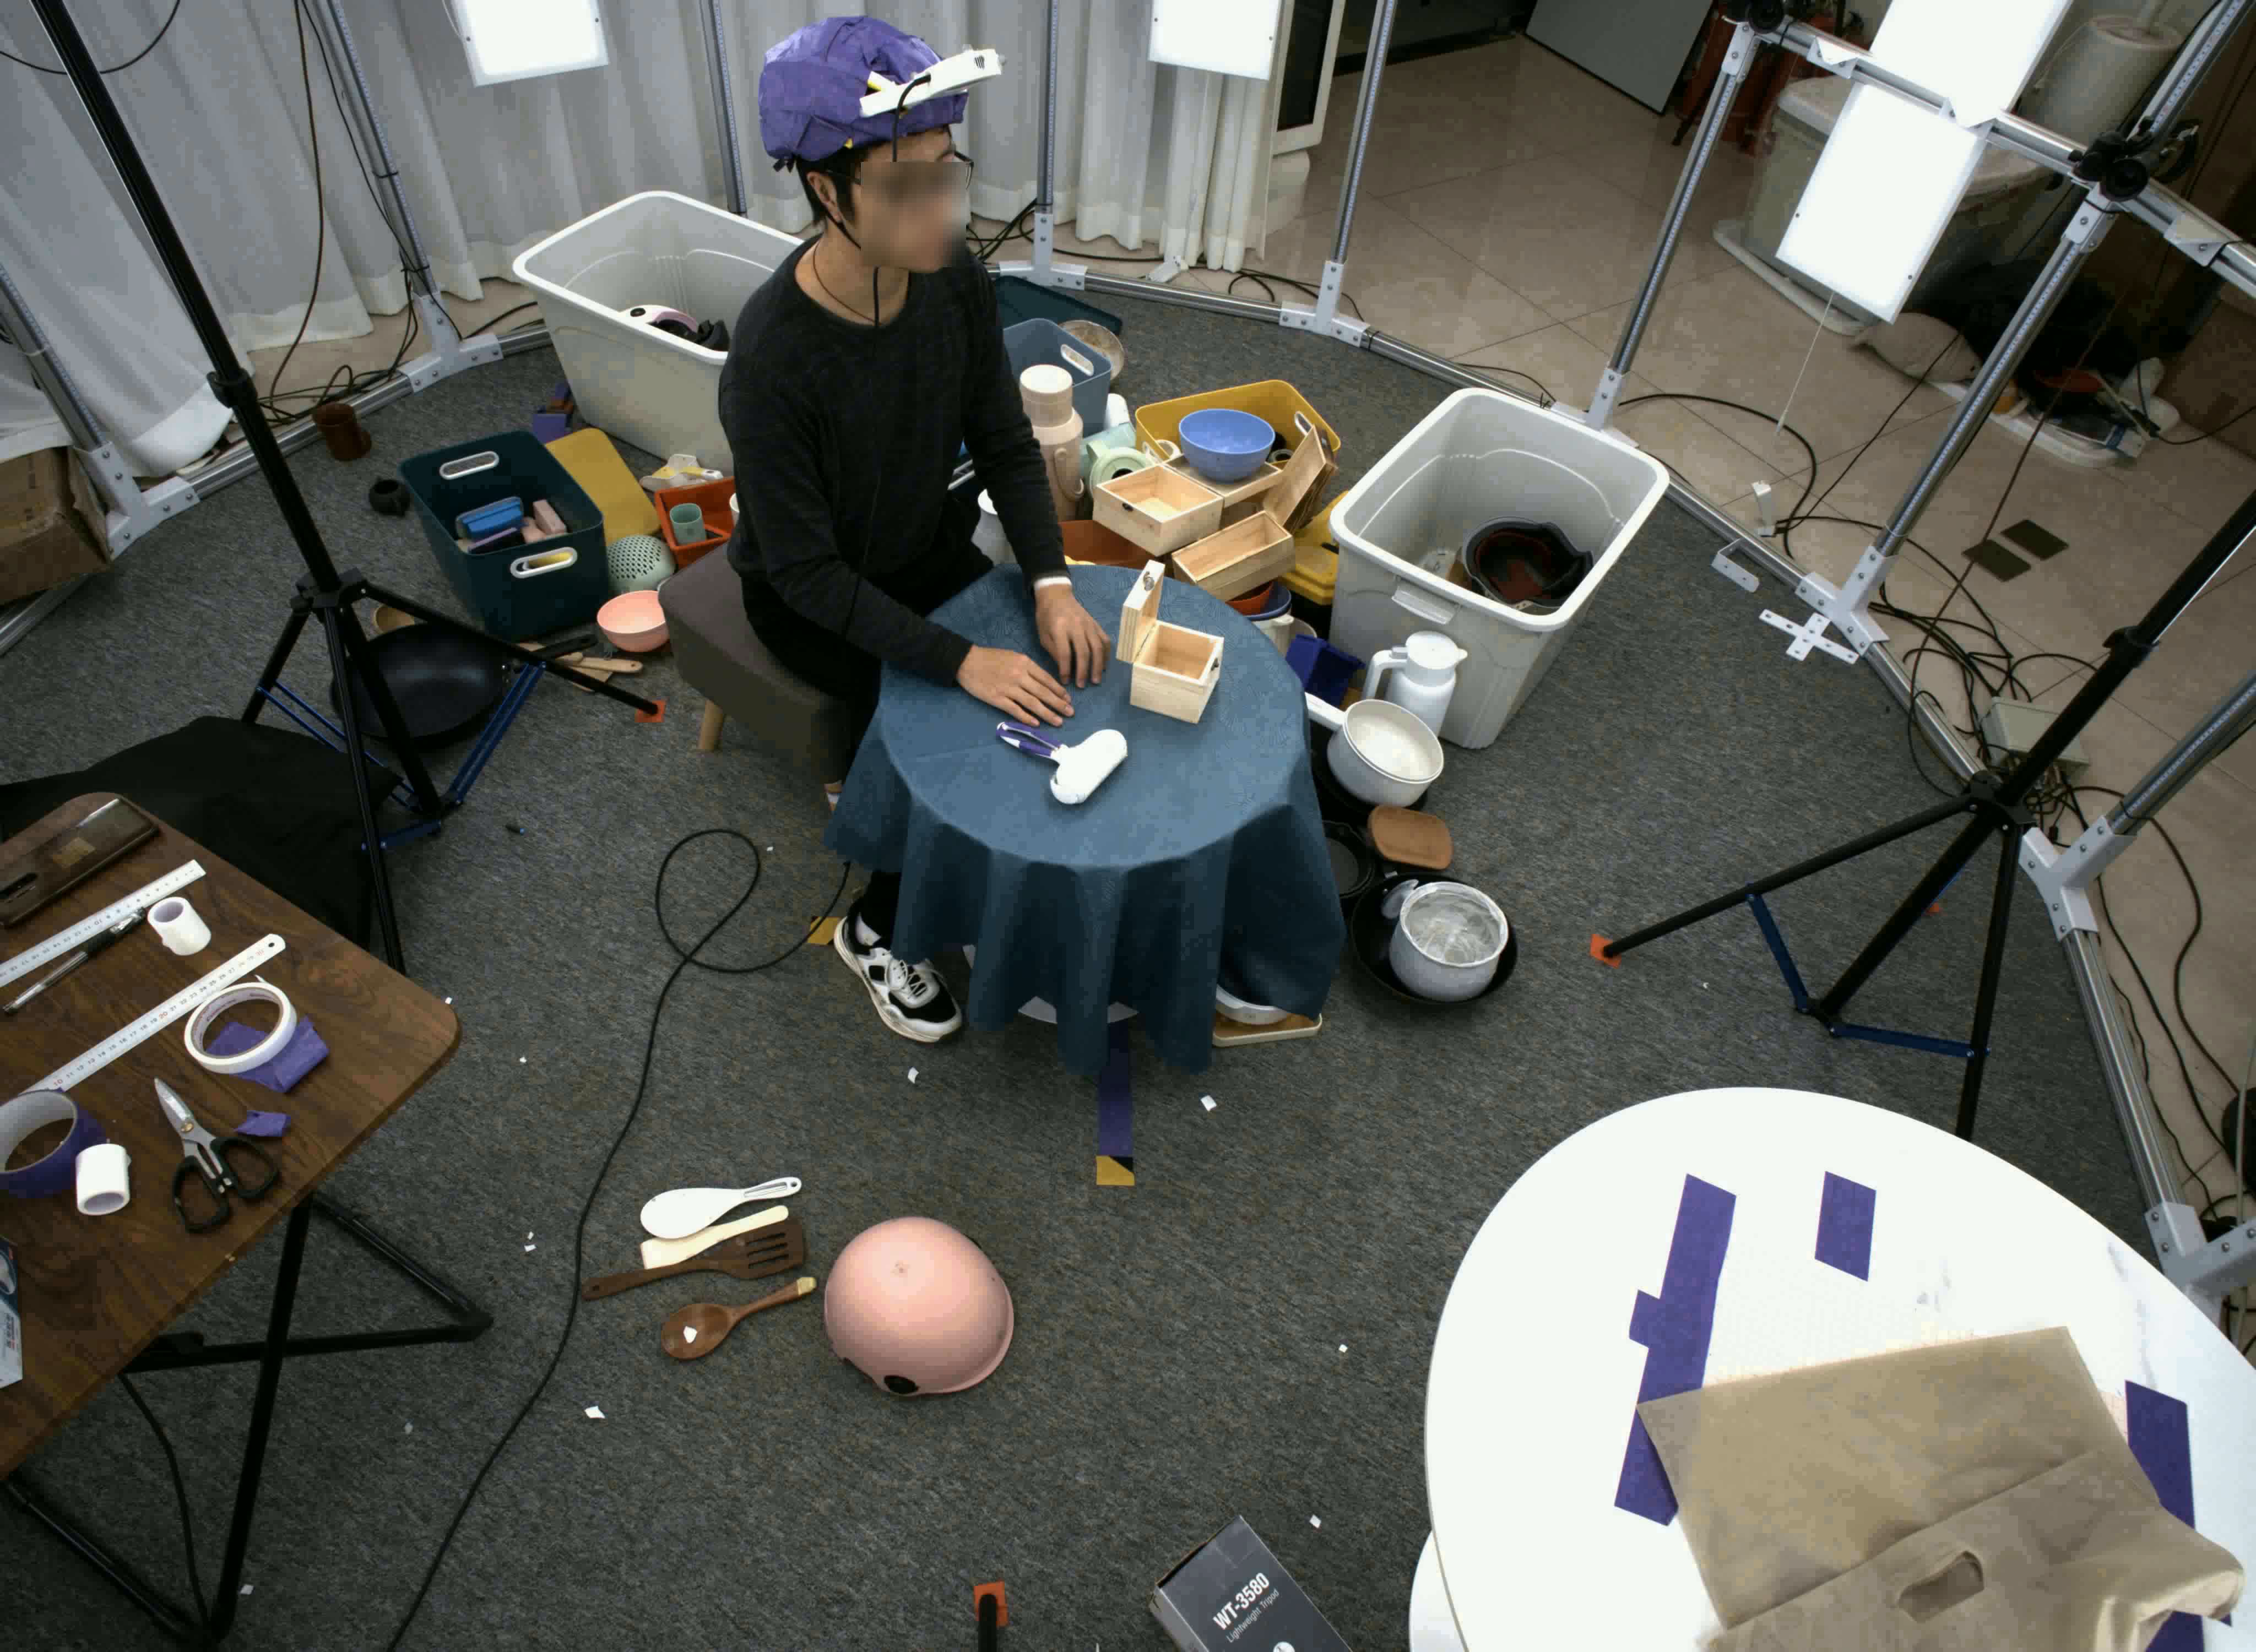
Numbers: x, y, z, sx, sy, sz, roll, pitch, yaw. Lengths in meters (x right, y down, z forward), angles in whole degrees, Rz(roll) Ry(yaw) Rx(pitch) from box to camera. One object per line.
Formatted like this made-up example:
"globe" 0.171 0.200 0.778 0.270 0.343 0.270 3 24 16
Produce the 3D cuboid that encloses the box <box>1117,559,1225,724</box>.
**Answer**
"box" 0.064 -0.254 1.777 0.134 0.180 0.104 18 50 11

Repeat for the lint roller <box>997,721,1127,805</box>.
"lint roller" -0.101 -0.110 1.728 0.182 0.049 0.135 31 55 19
